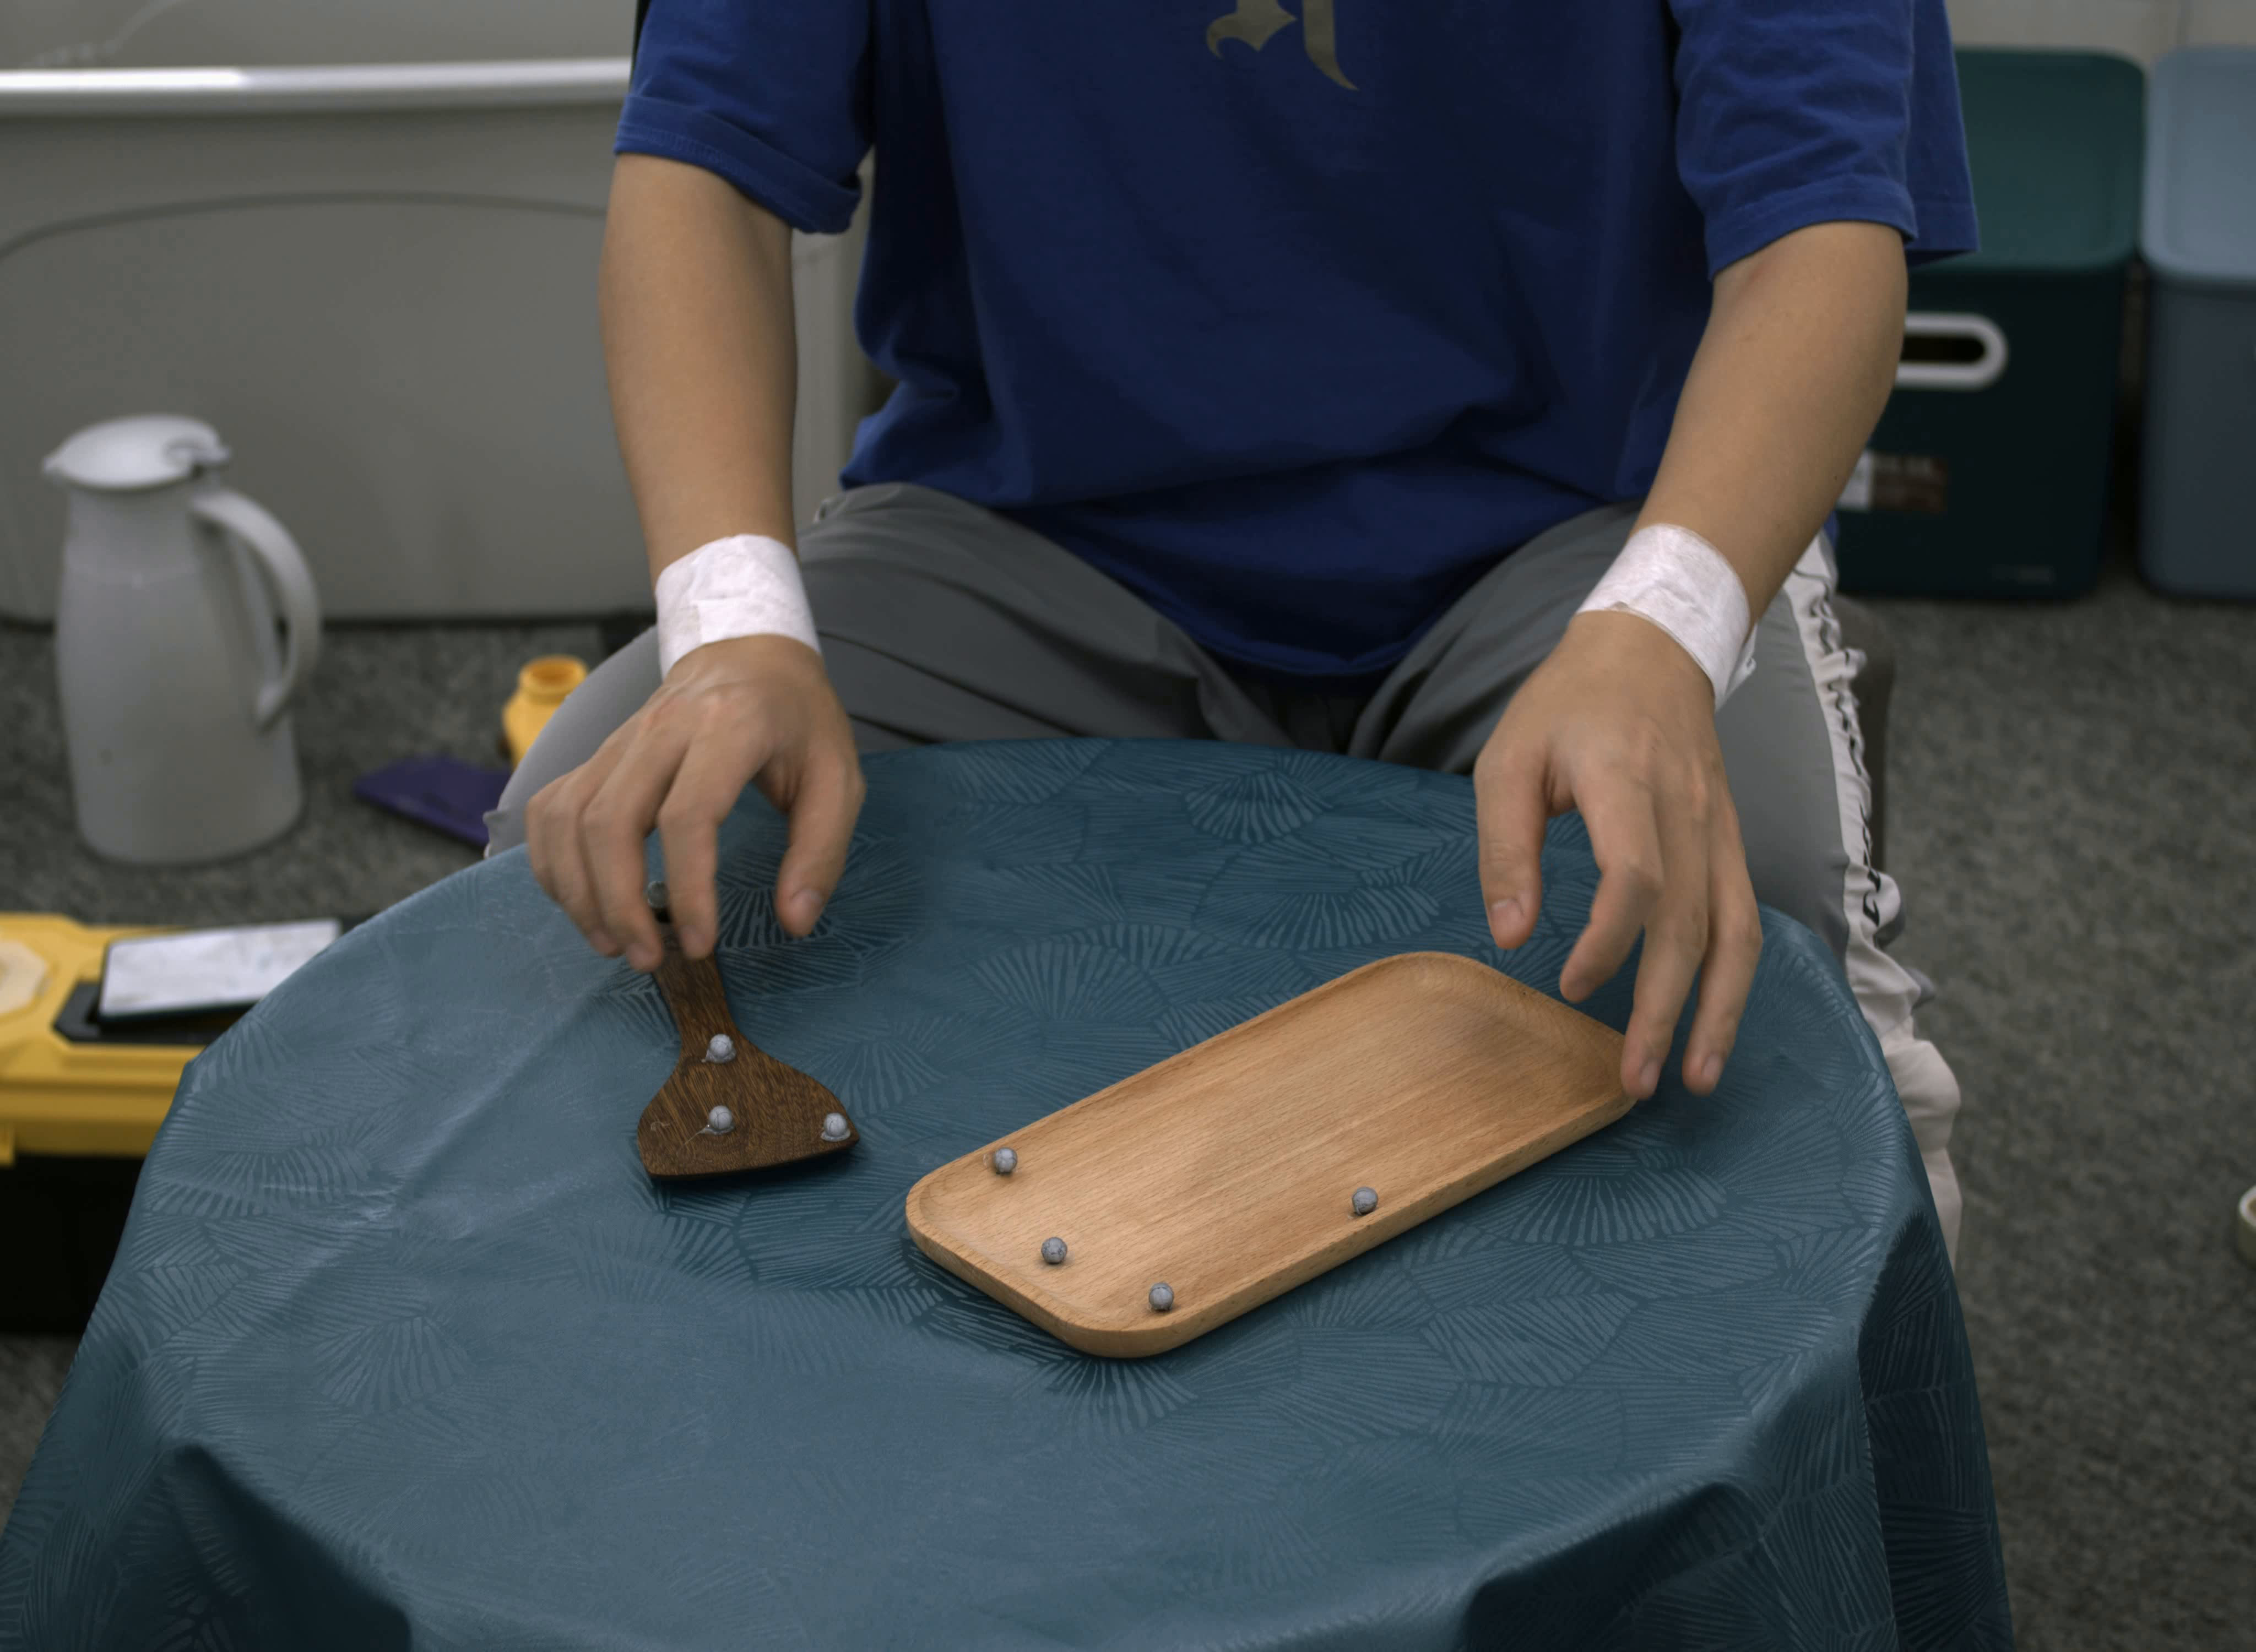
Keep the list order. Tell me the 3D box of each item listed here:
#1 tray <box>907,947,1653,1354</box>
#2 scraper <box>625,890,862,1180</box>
[{"bbox_3d":[0.052,0.106,1.867,0.253,0.022,0.131,-22,35,-34],"label":"tray"},{"bbox_3d":[-0.147,0.072,1.962,0.076,0.011,0.213,-8,27,-11],"label":"scraper"}]
